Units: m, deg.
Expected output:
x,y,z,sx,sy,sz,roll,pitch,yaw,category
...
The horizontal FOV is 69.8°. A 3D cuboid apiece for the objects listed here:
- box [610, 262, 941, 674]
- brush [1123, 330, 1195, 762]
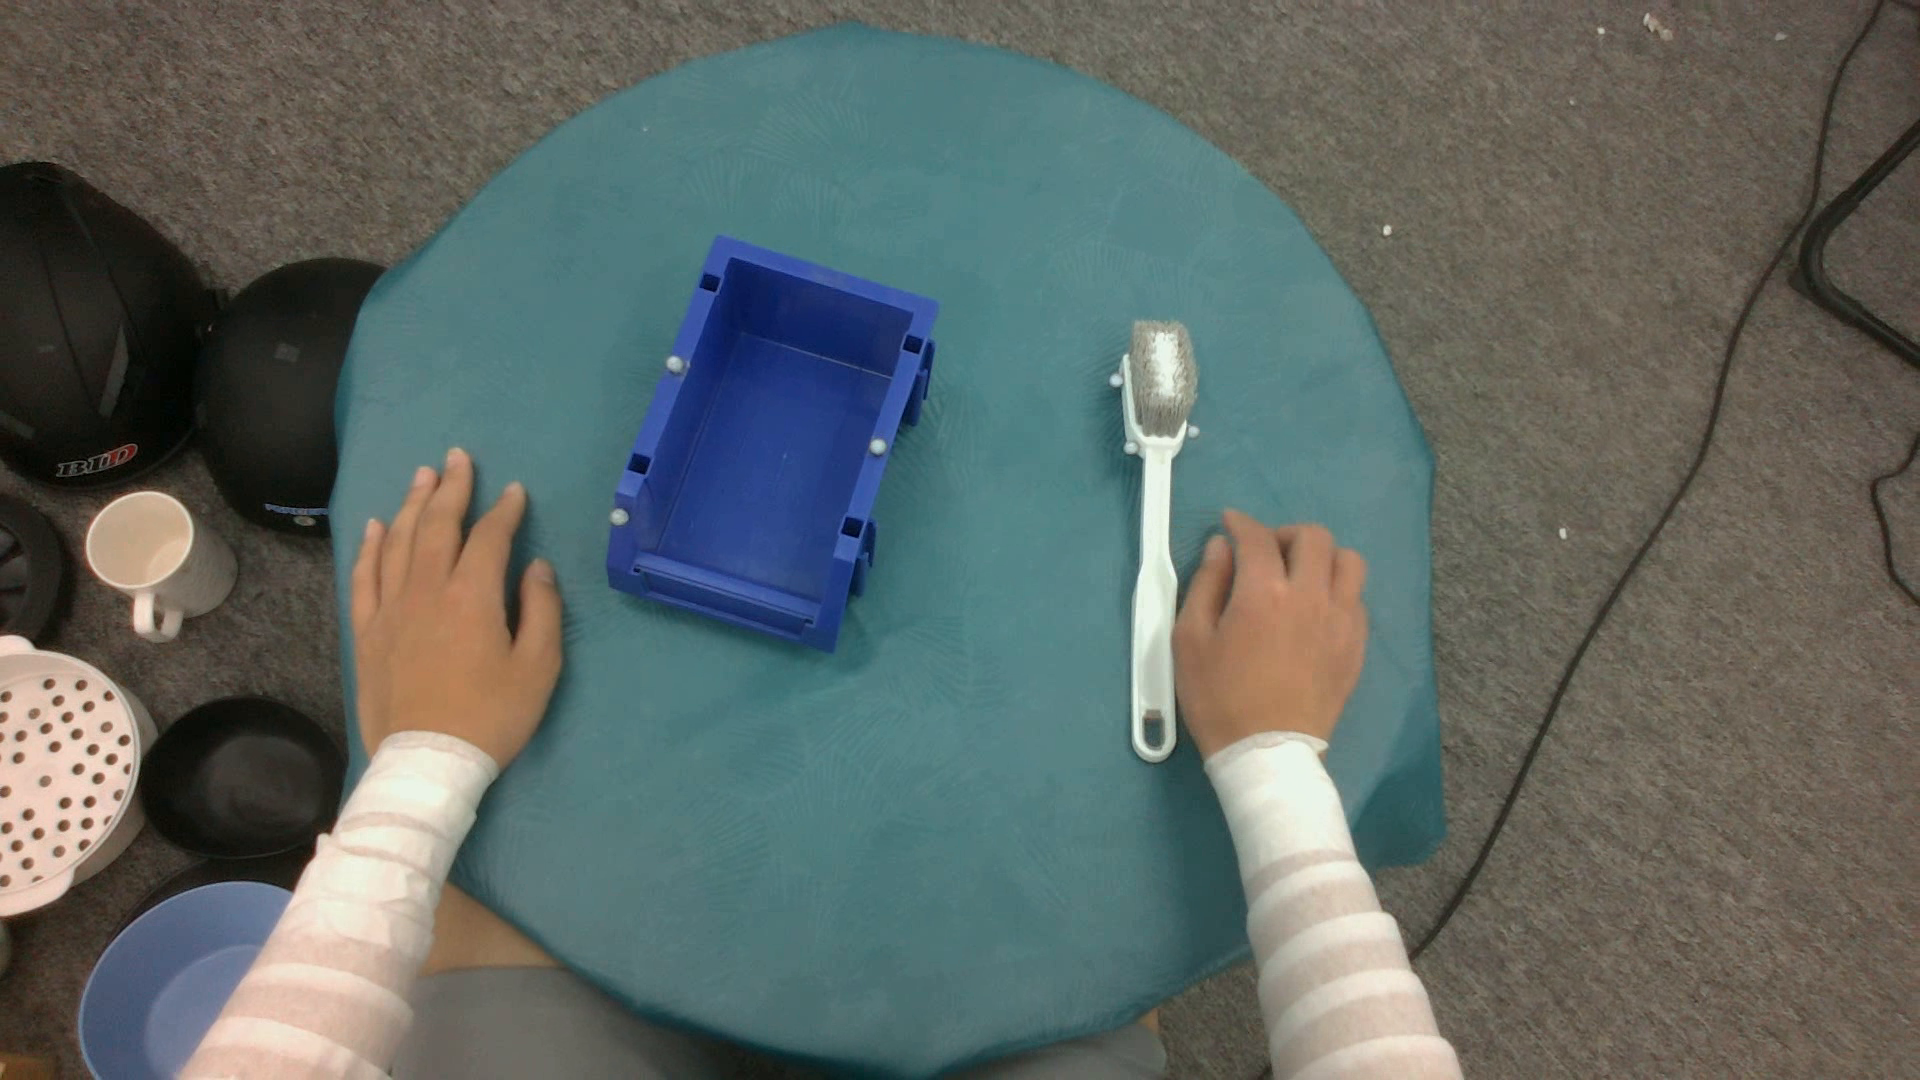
x,y,z,sx,sy,sz,roll,pitch,yaw,category
-0.094,-0.035,0.724,0.124,0.081,0.180,18,68,0,box
0.109,-0.004,0.750,0.034,0.050,0.244,4,69,-4,brush
